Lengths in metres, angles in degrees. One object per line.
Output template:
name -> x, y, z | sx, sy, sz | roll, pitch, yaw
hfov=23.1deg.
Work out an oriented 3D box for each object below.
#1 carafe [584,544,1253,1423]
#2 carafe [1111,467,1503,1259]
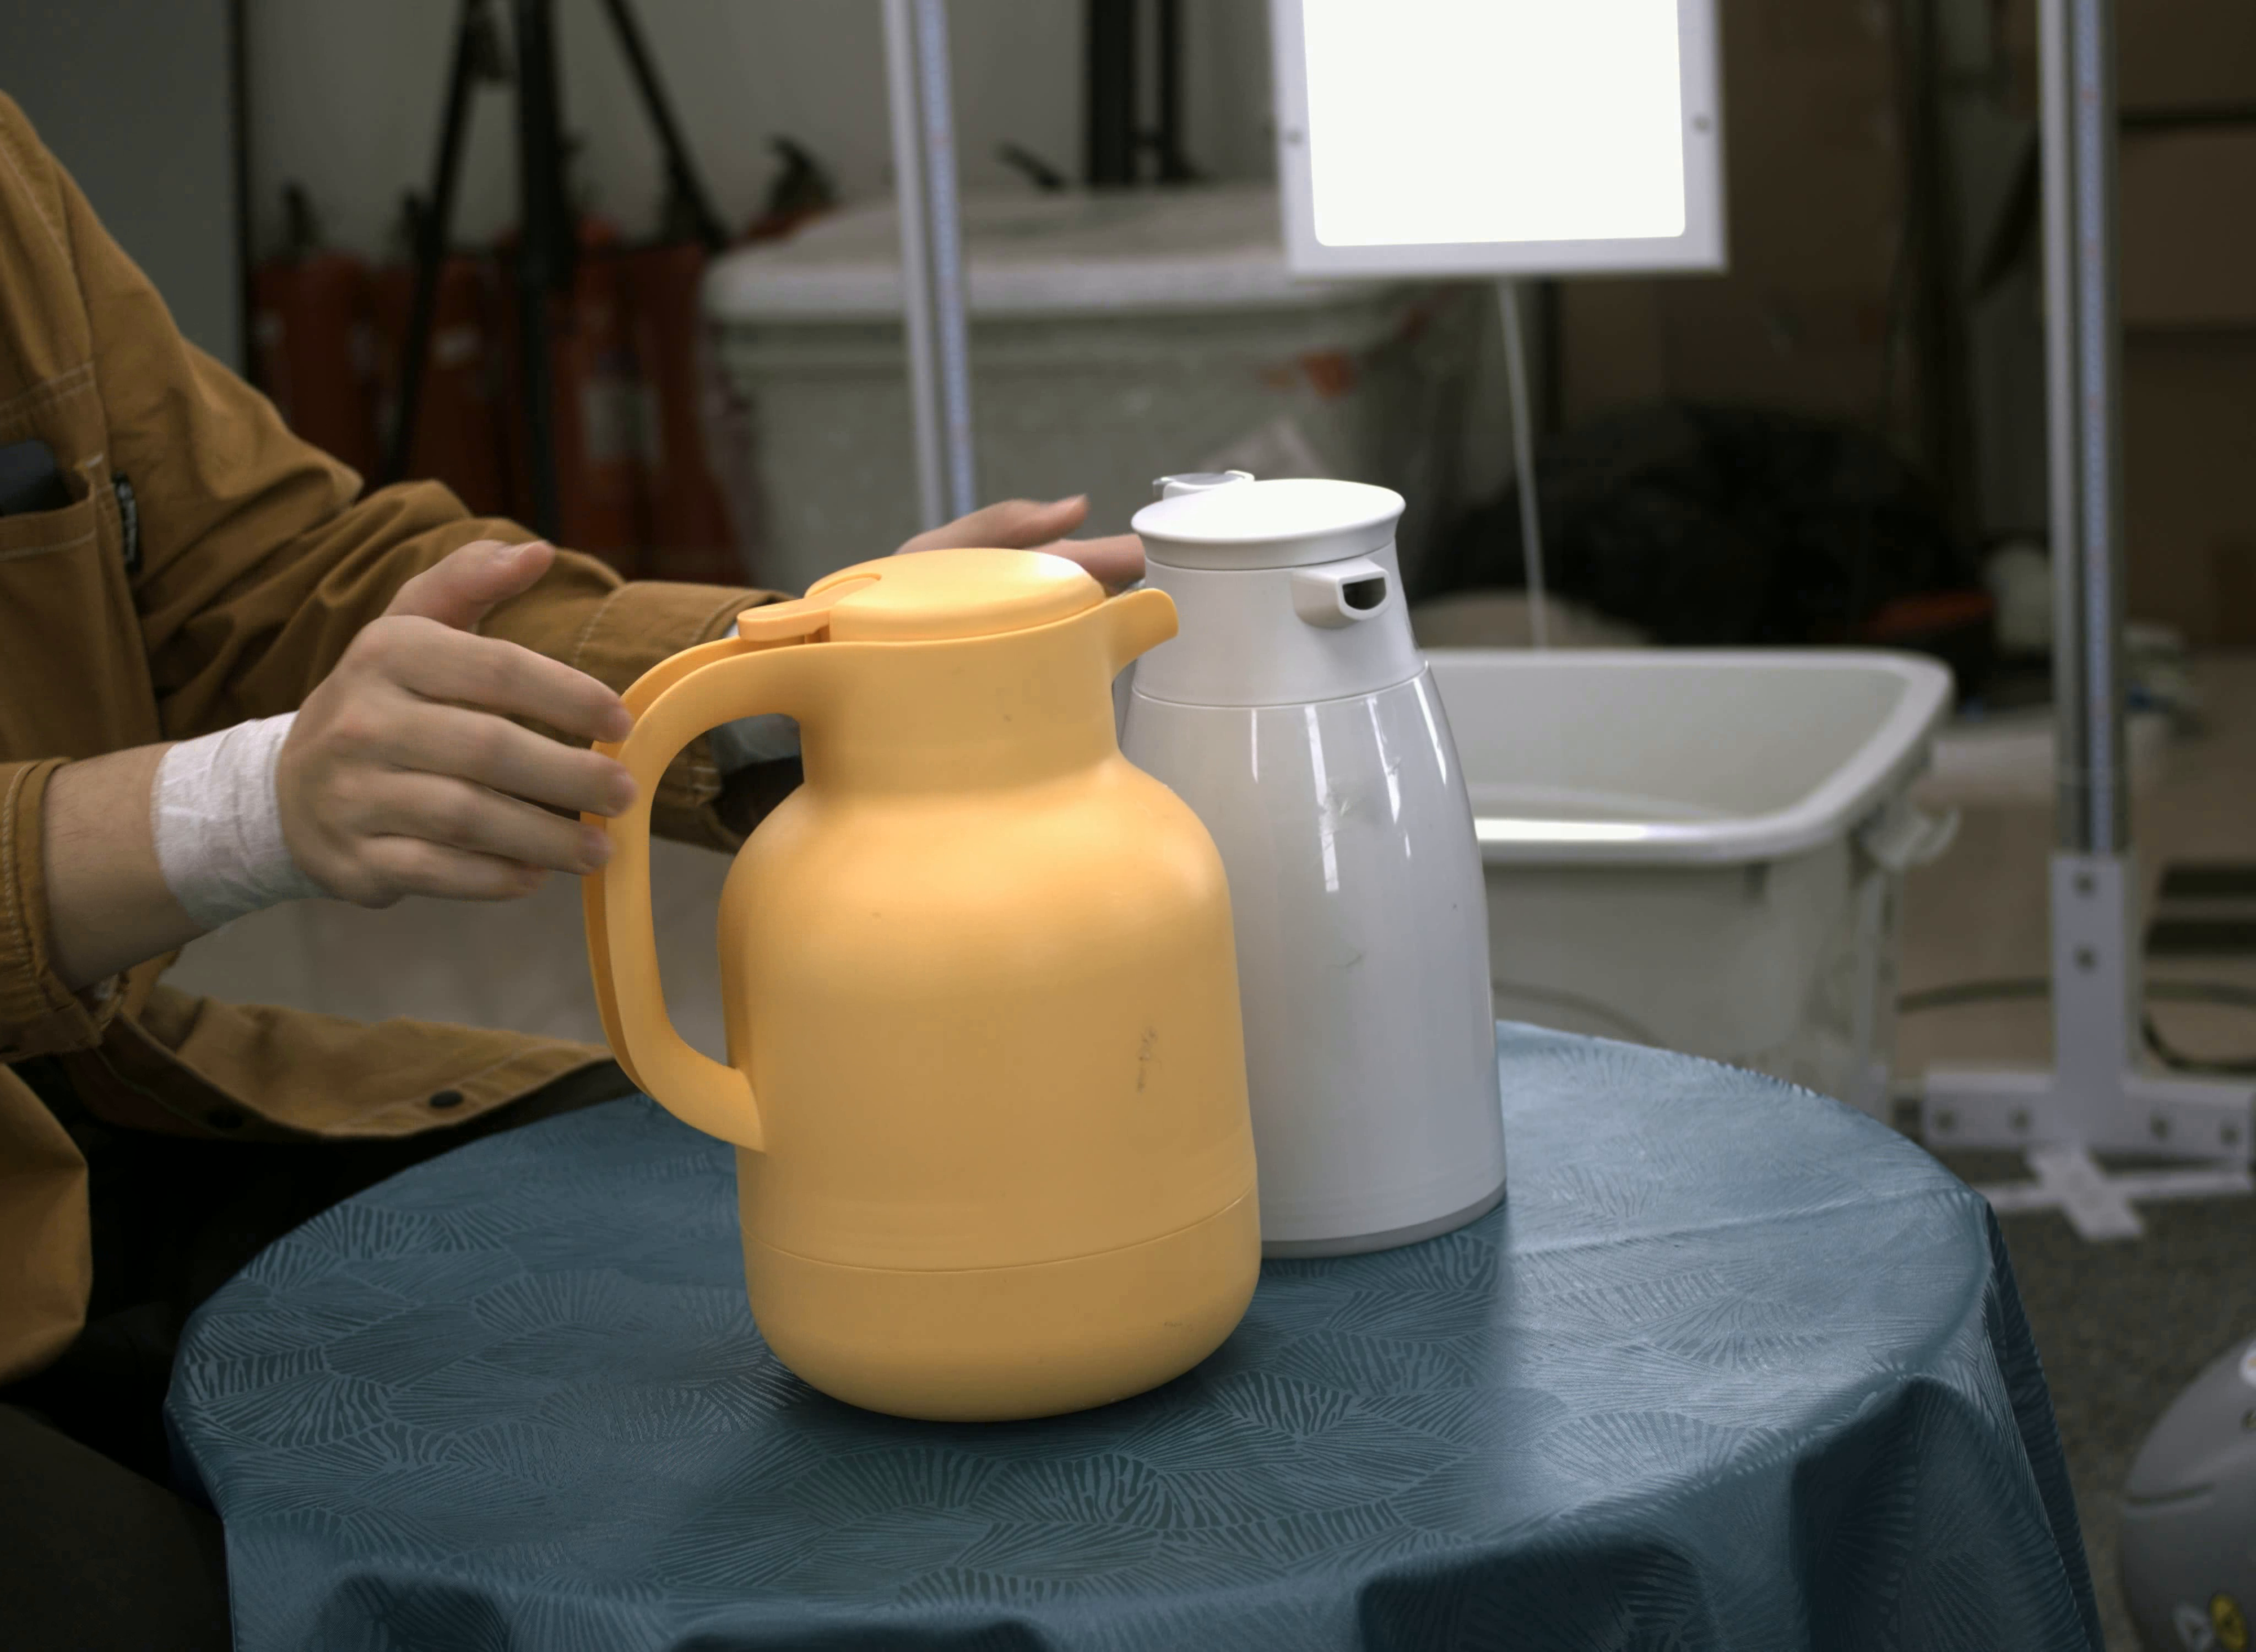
carafe -> -0.066, 0.047, 1.701 | 0.199, 0.261, 0.165 | -8, 12, -18
carafe -> 0.044, 0.004, 1.860 | 0.130, 0.249, 0.170 | -12, 15, -26
